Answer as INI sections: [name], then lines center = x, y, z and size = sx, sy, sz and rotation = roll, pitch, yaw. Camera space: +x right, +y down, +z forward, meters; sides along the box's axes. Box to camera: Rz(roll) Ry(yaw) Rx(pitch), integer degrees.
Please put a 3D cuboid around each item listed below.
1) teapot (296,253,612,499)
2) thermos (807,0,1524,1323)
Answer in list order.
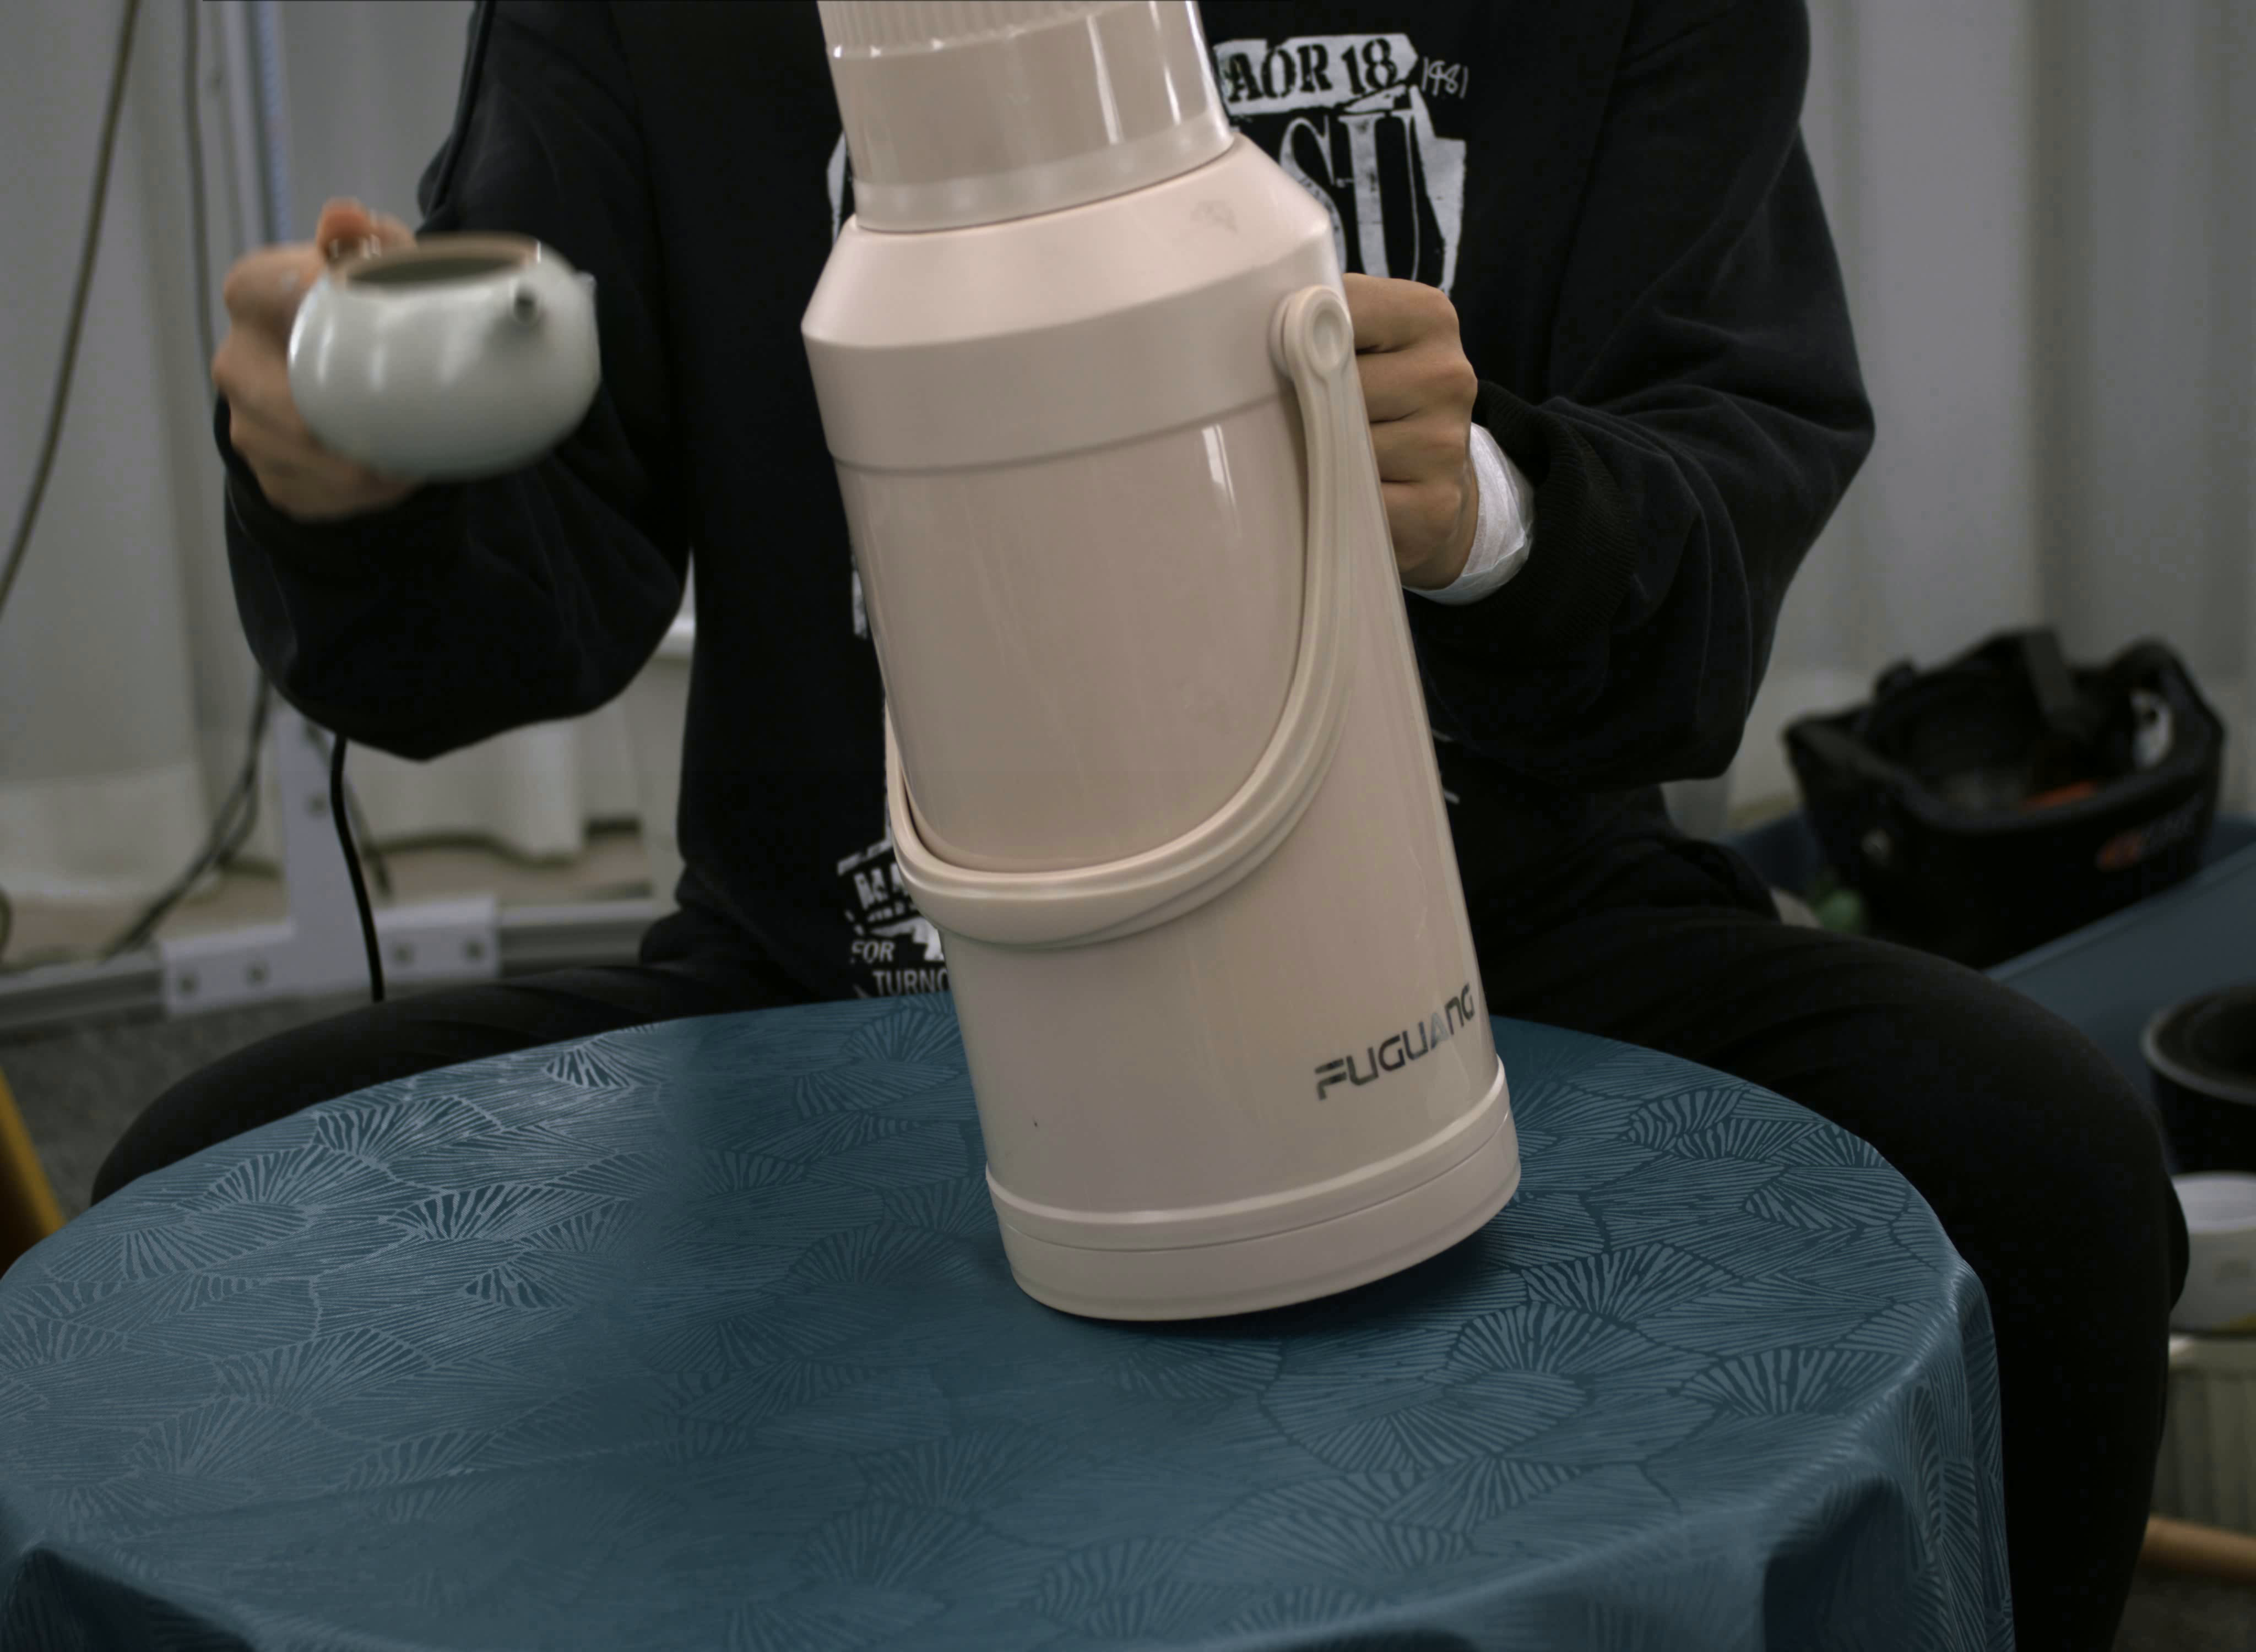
[teapot]
center = -0.202, -0.133, 1.601
size = 0.092, 0.059, 0.129
rotation = -22, 26, -32
[thermos]
center = 0.012, -0.073, 1.612
size = 0.175, 0.404, 0.207
rotation = -2, 18, 37
